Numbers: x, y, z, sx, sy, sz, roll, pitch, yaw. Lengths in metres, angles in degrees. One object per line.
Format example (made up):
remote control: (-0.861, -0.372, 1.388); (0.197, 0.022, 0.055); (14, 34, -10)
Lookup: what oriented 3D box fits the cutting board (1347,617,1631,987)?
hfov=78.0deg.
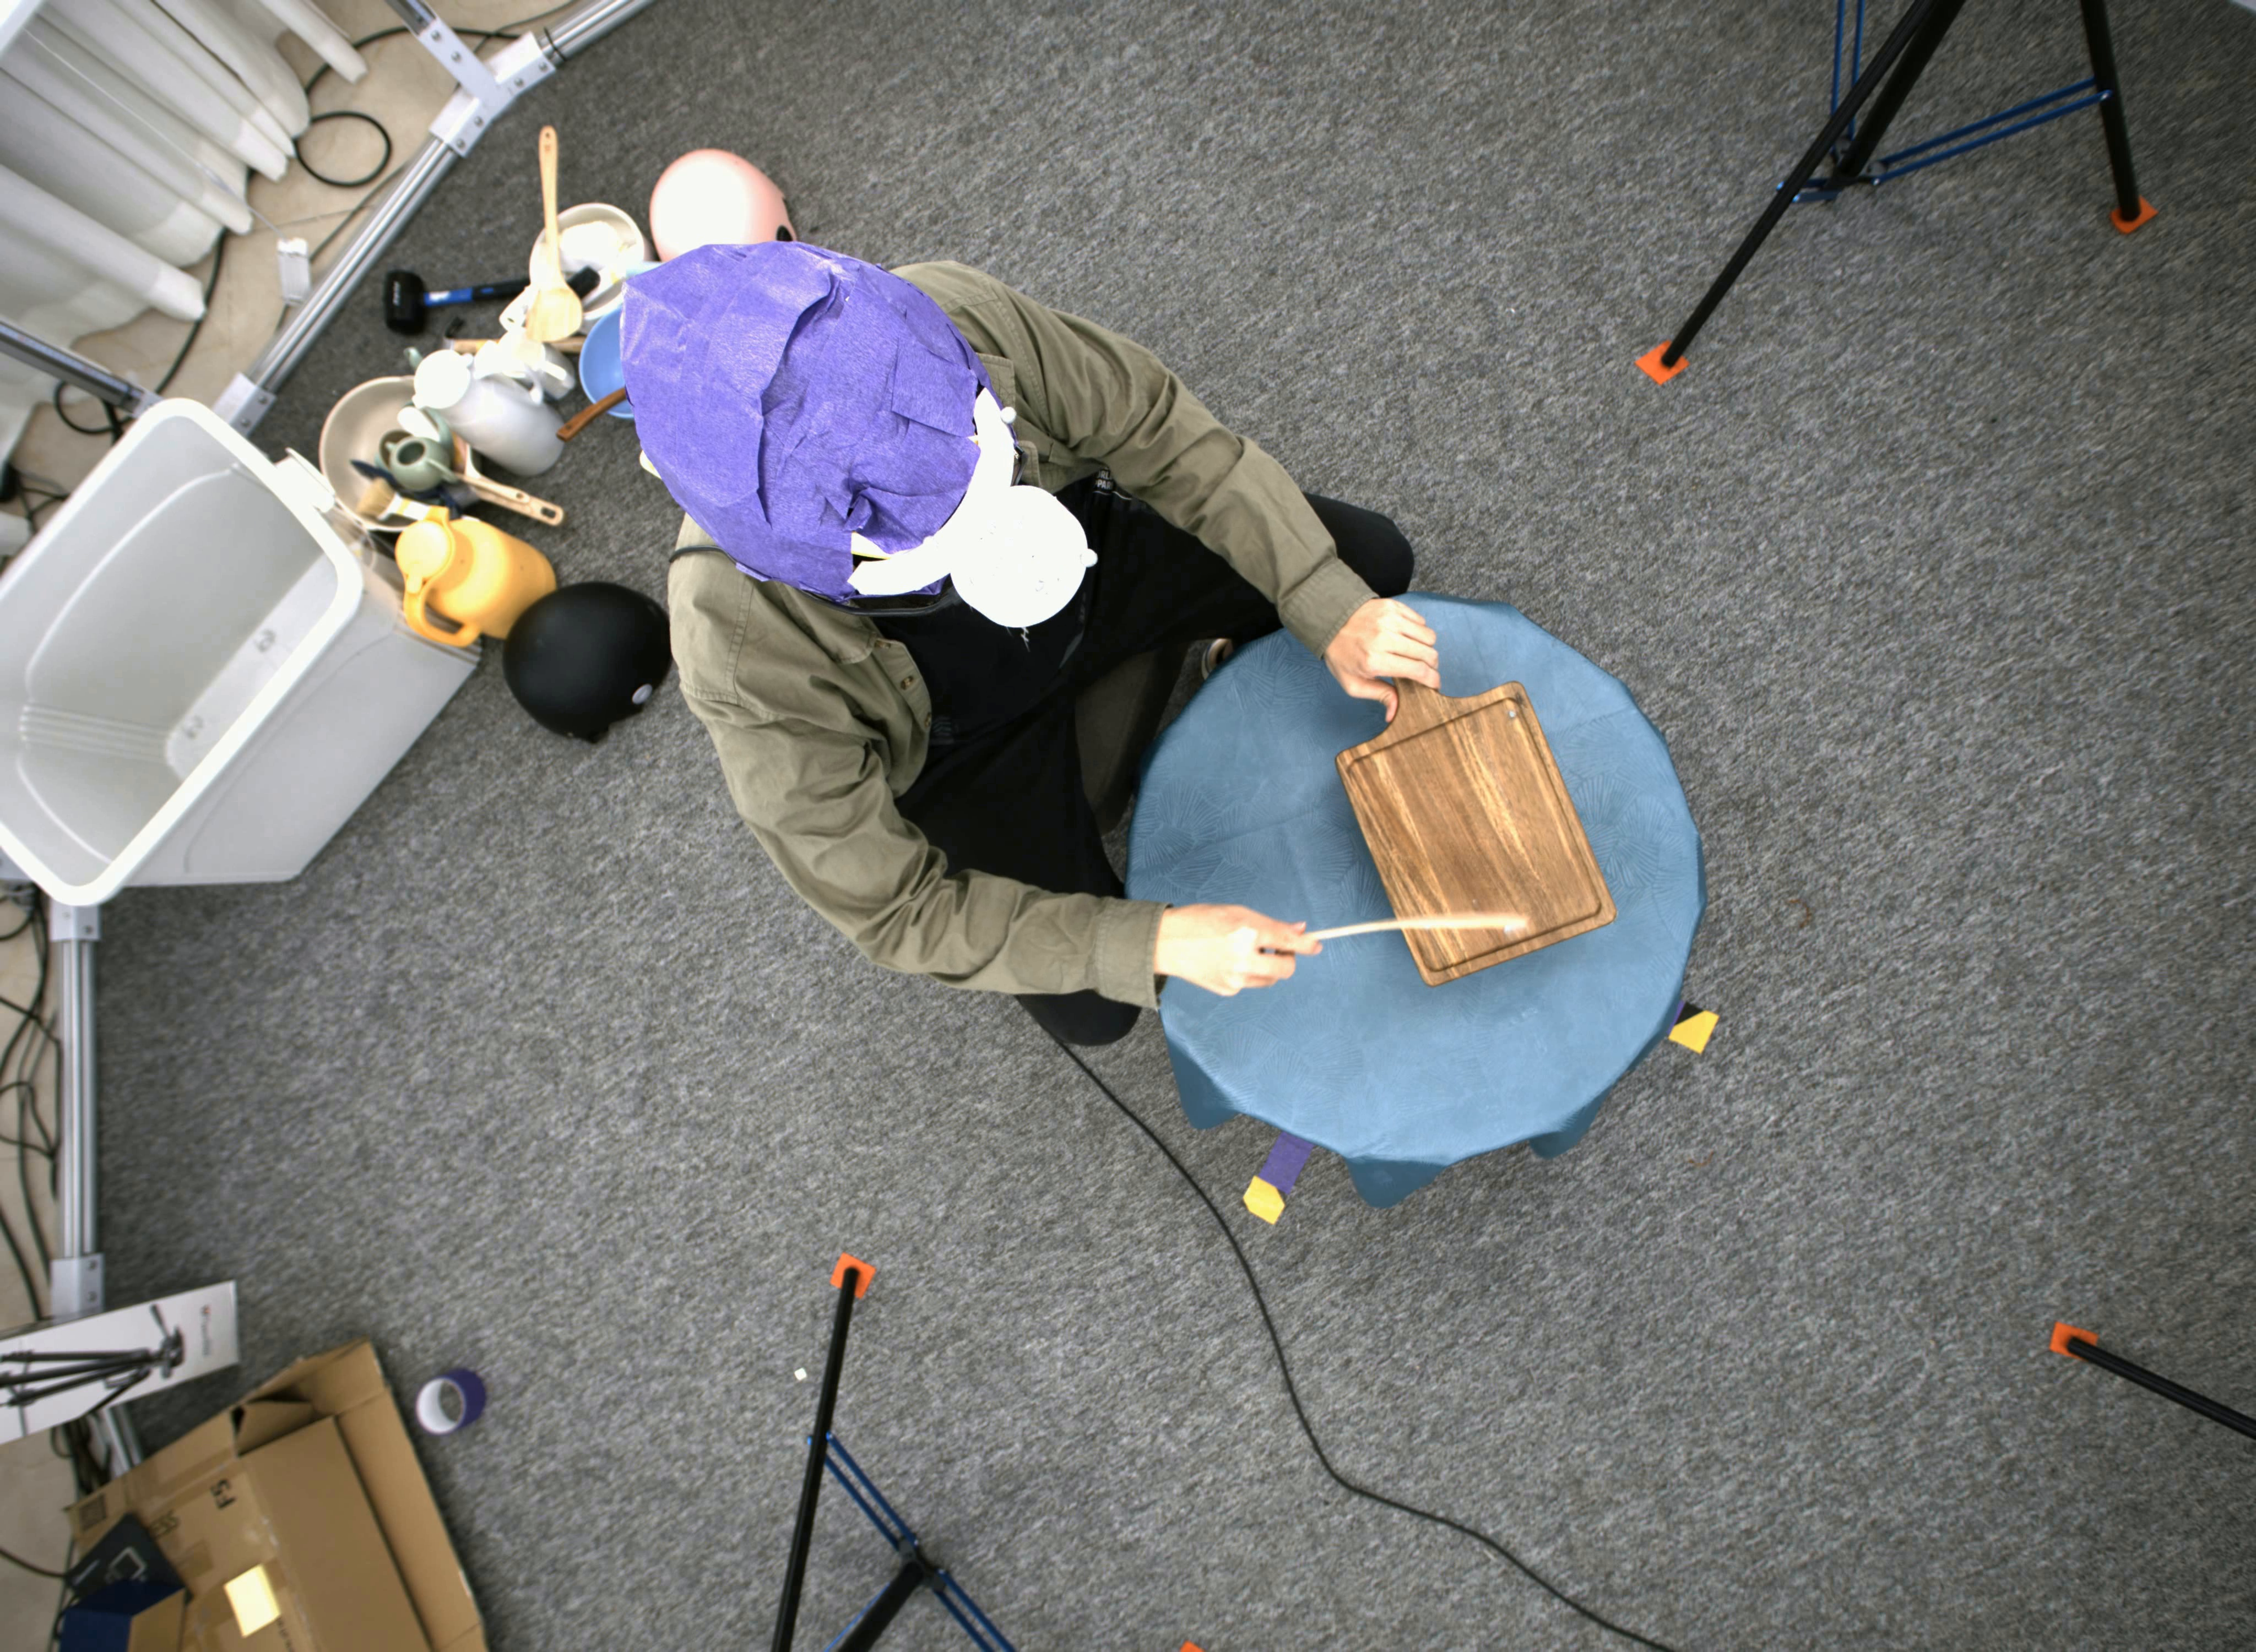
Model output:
cutting board: (0.330, -0.039, 1.330); (0.203, 0.023, 0.351); (-21, 89, 20)

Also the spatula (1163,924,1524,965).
spatula: (0.191, 0.107, 1.251); (0.330, 0.079, 0.016); (-8, 90, 15)
